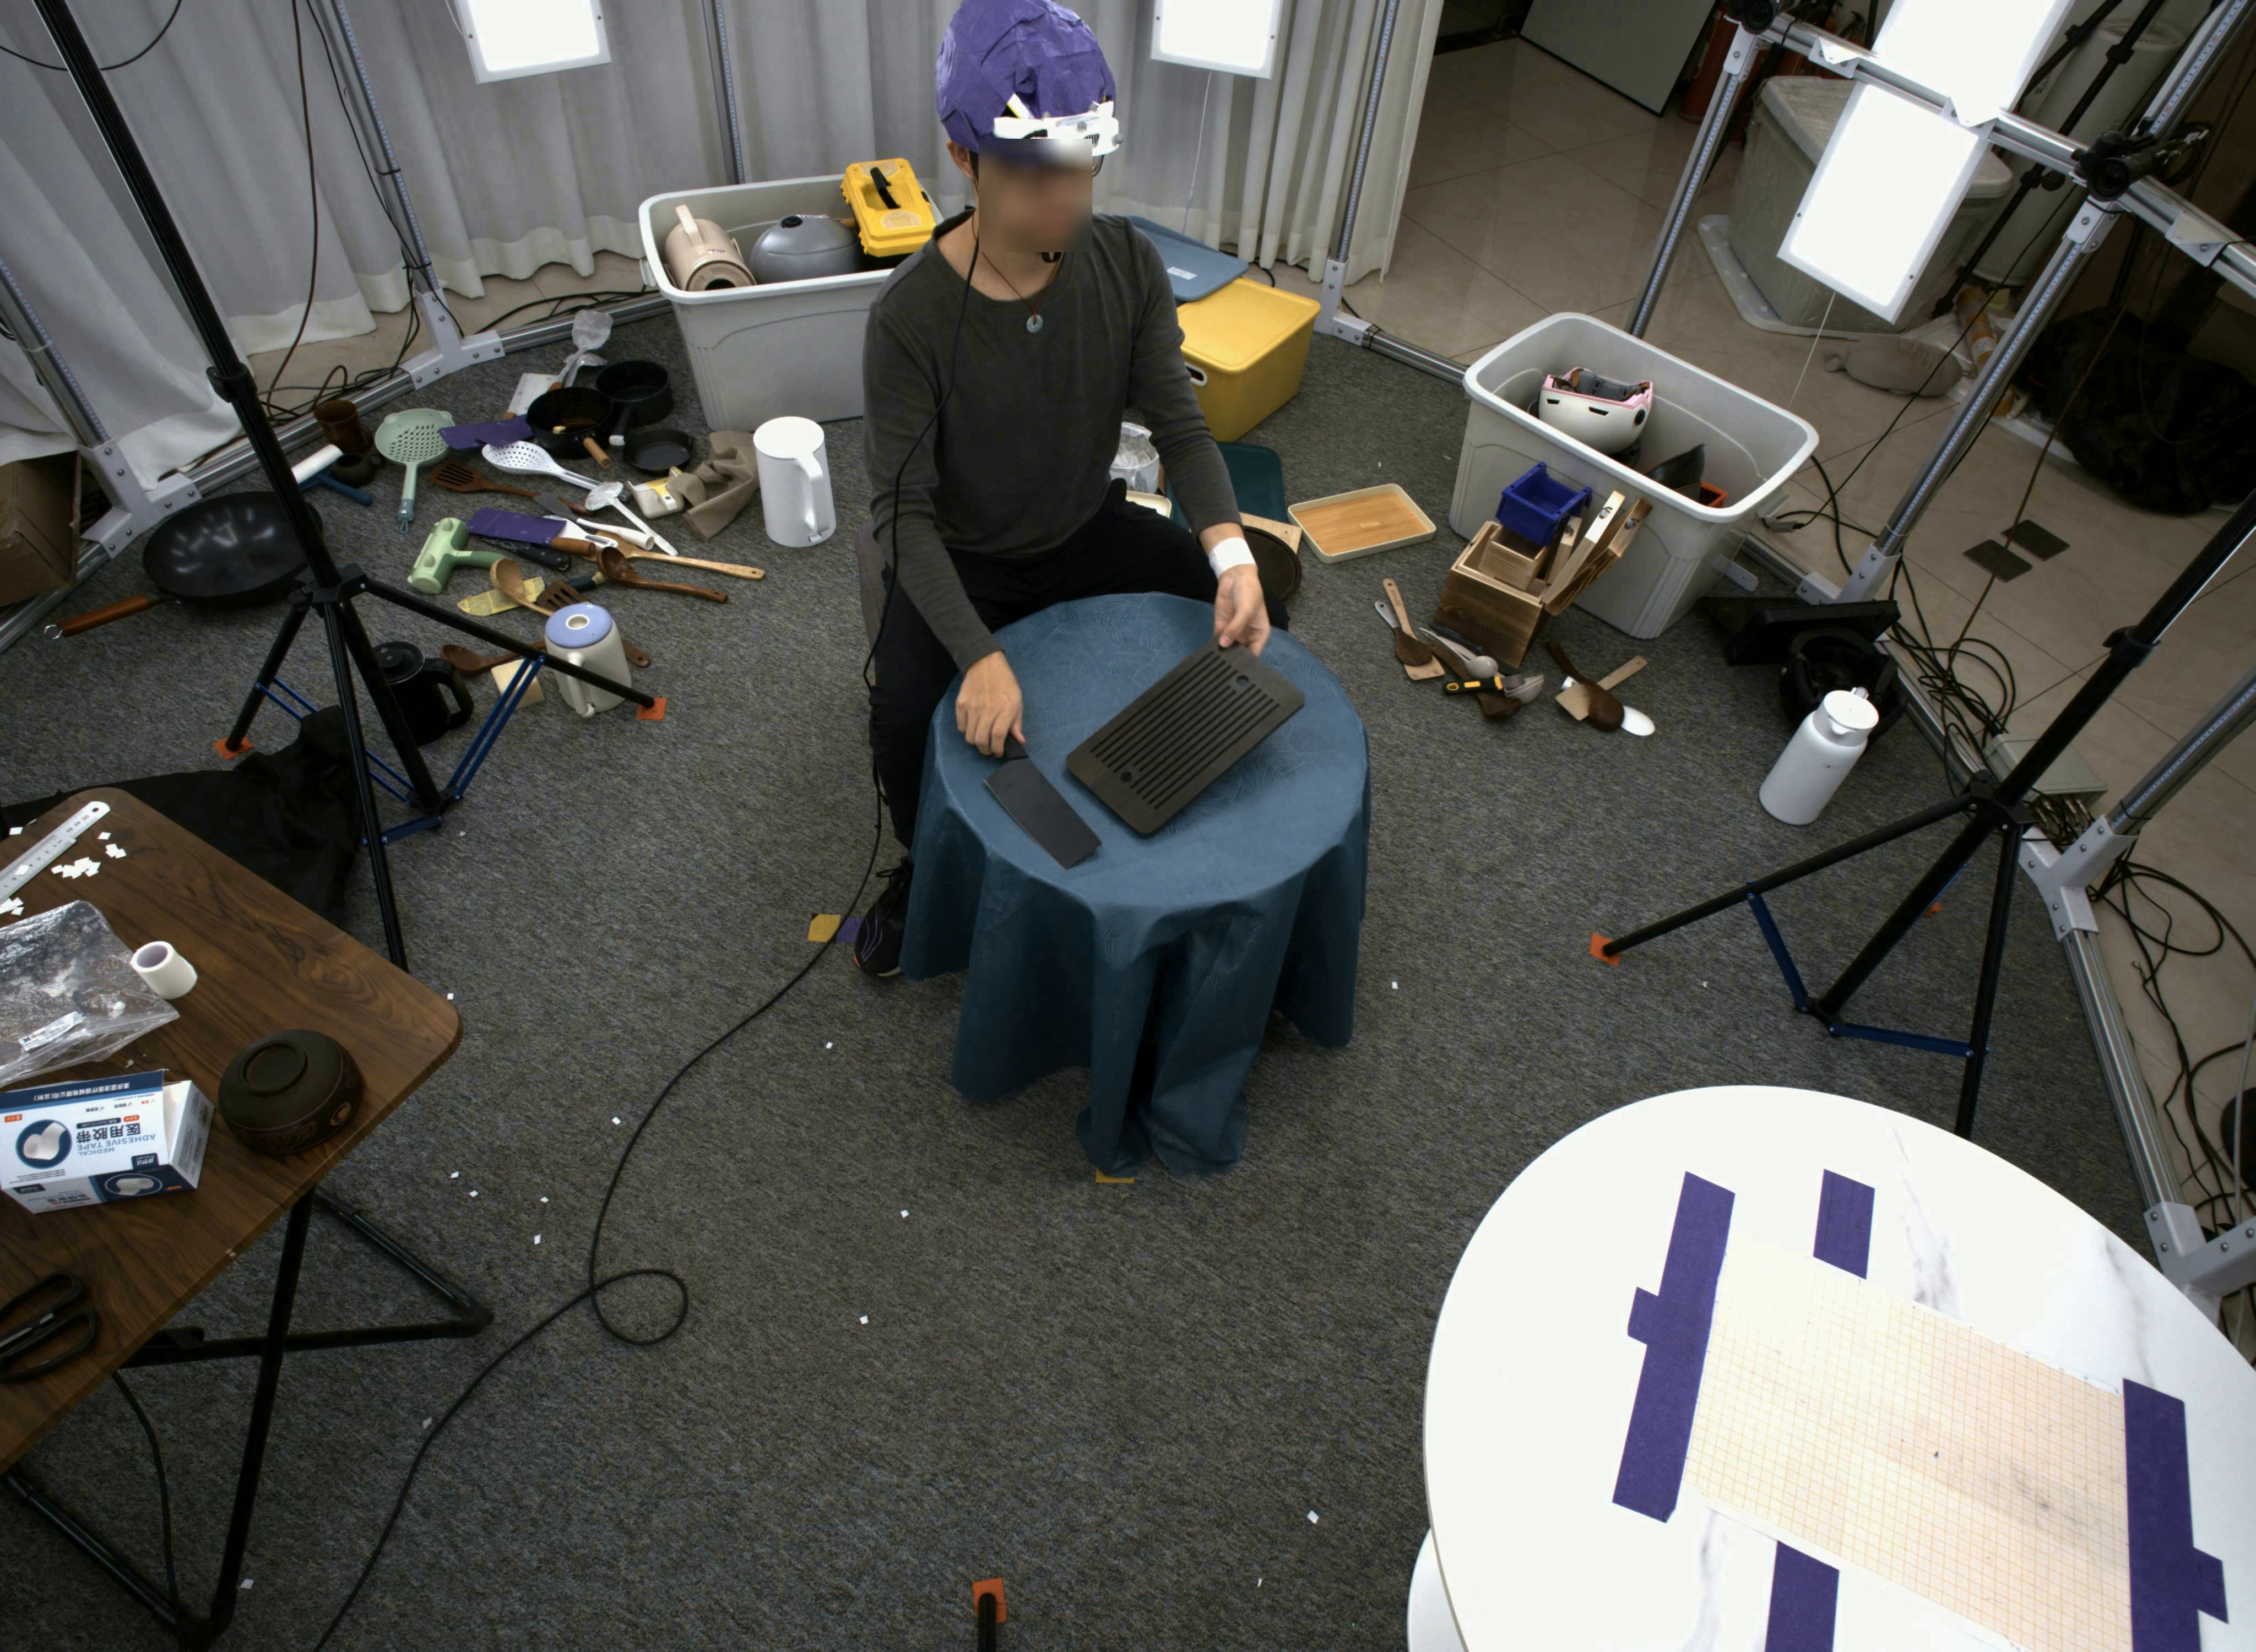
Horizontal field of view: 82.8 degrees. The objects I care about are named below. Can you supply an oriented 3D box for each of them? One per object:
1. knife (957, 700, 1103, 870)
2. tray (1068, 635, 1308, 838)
[{"bbox_3d":[-0.142,-0.062,1.691,0.081,0.020,0.308,-30,60,-13],"label":"knife"},{"bbox_3d":[0.082,-0.124,1.727,0.308,0.018,0.173,-39,62,-17],"label":"tray"}]
